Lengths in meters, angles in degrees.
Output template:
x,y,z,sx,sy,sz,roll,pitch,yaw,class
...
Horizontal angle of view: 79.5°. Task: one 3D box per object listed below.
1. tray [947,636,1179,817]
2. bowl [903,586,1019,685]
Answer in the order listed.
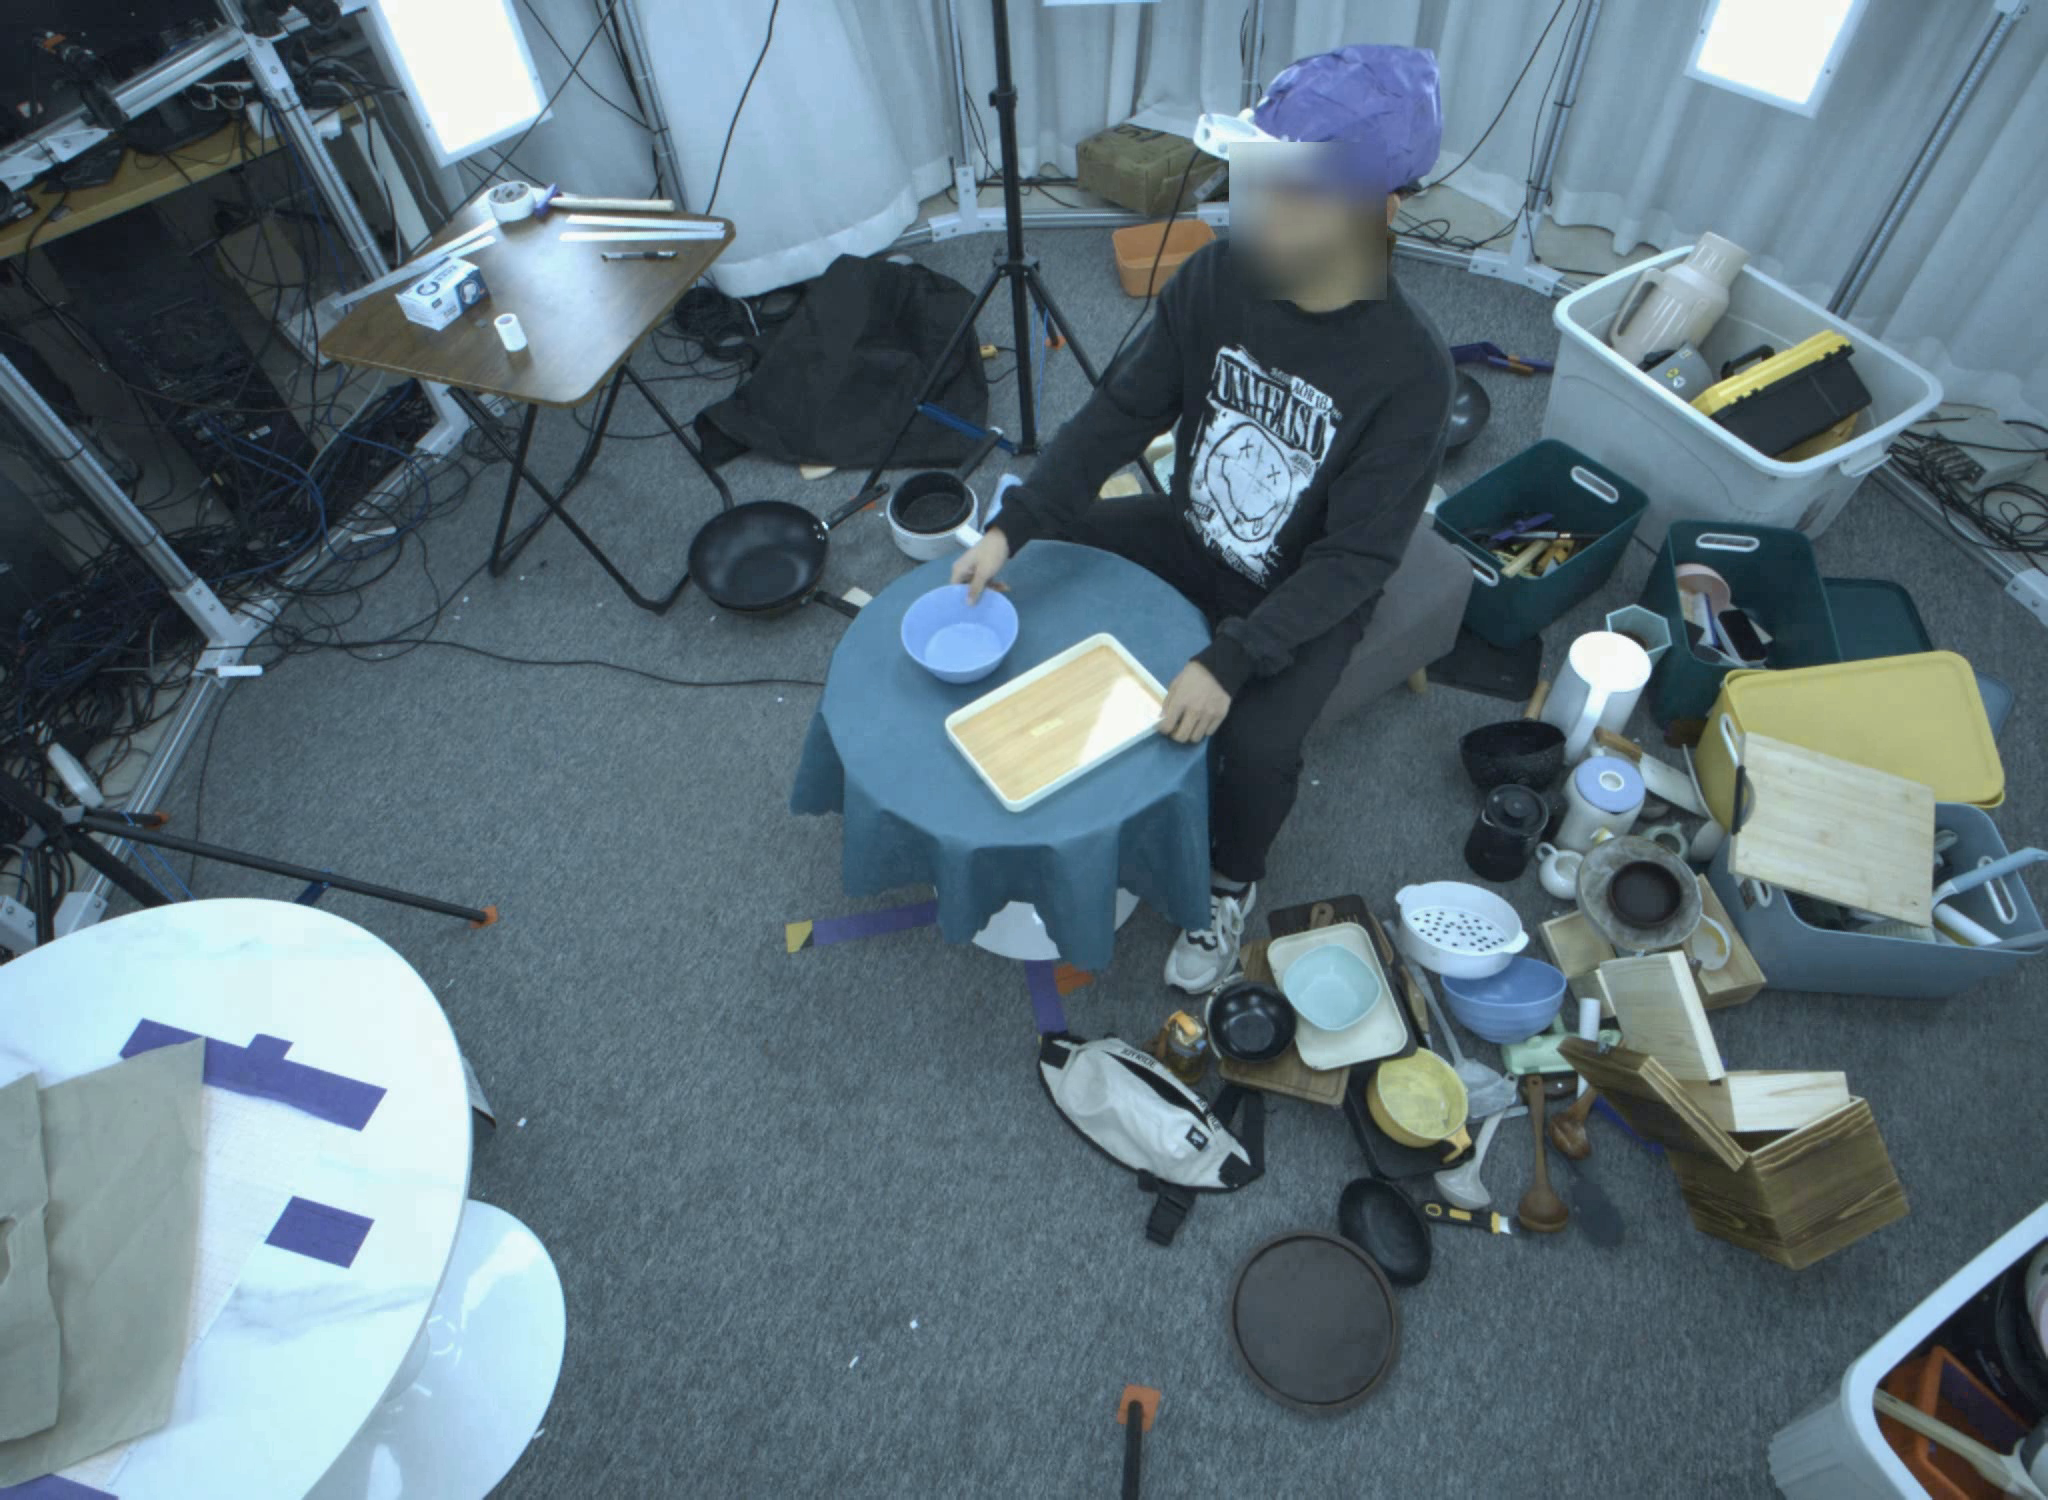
x,y,z,sx,sy,sz,roll,pitch,yaw,class
0.058,-0.040,1.808,0.302,0.028,0.188,-30,60,-18,tray
-0.093,-0.164,1.872,0.176,0.071,0.174,0,56,1,bowl
